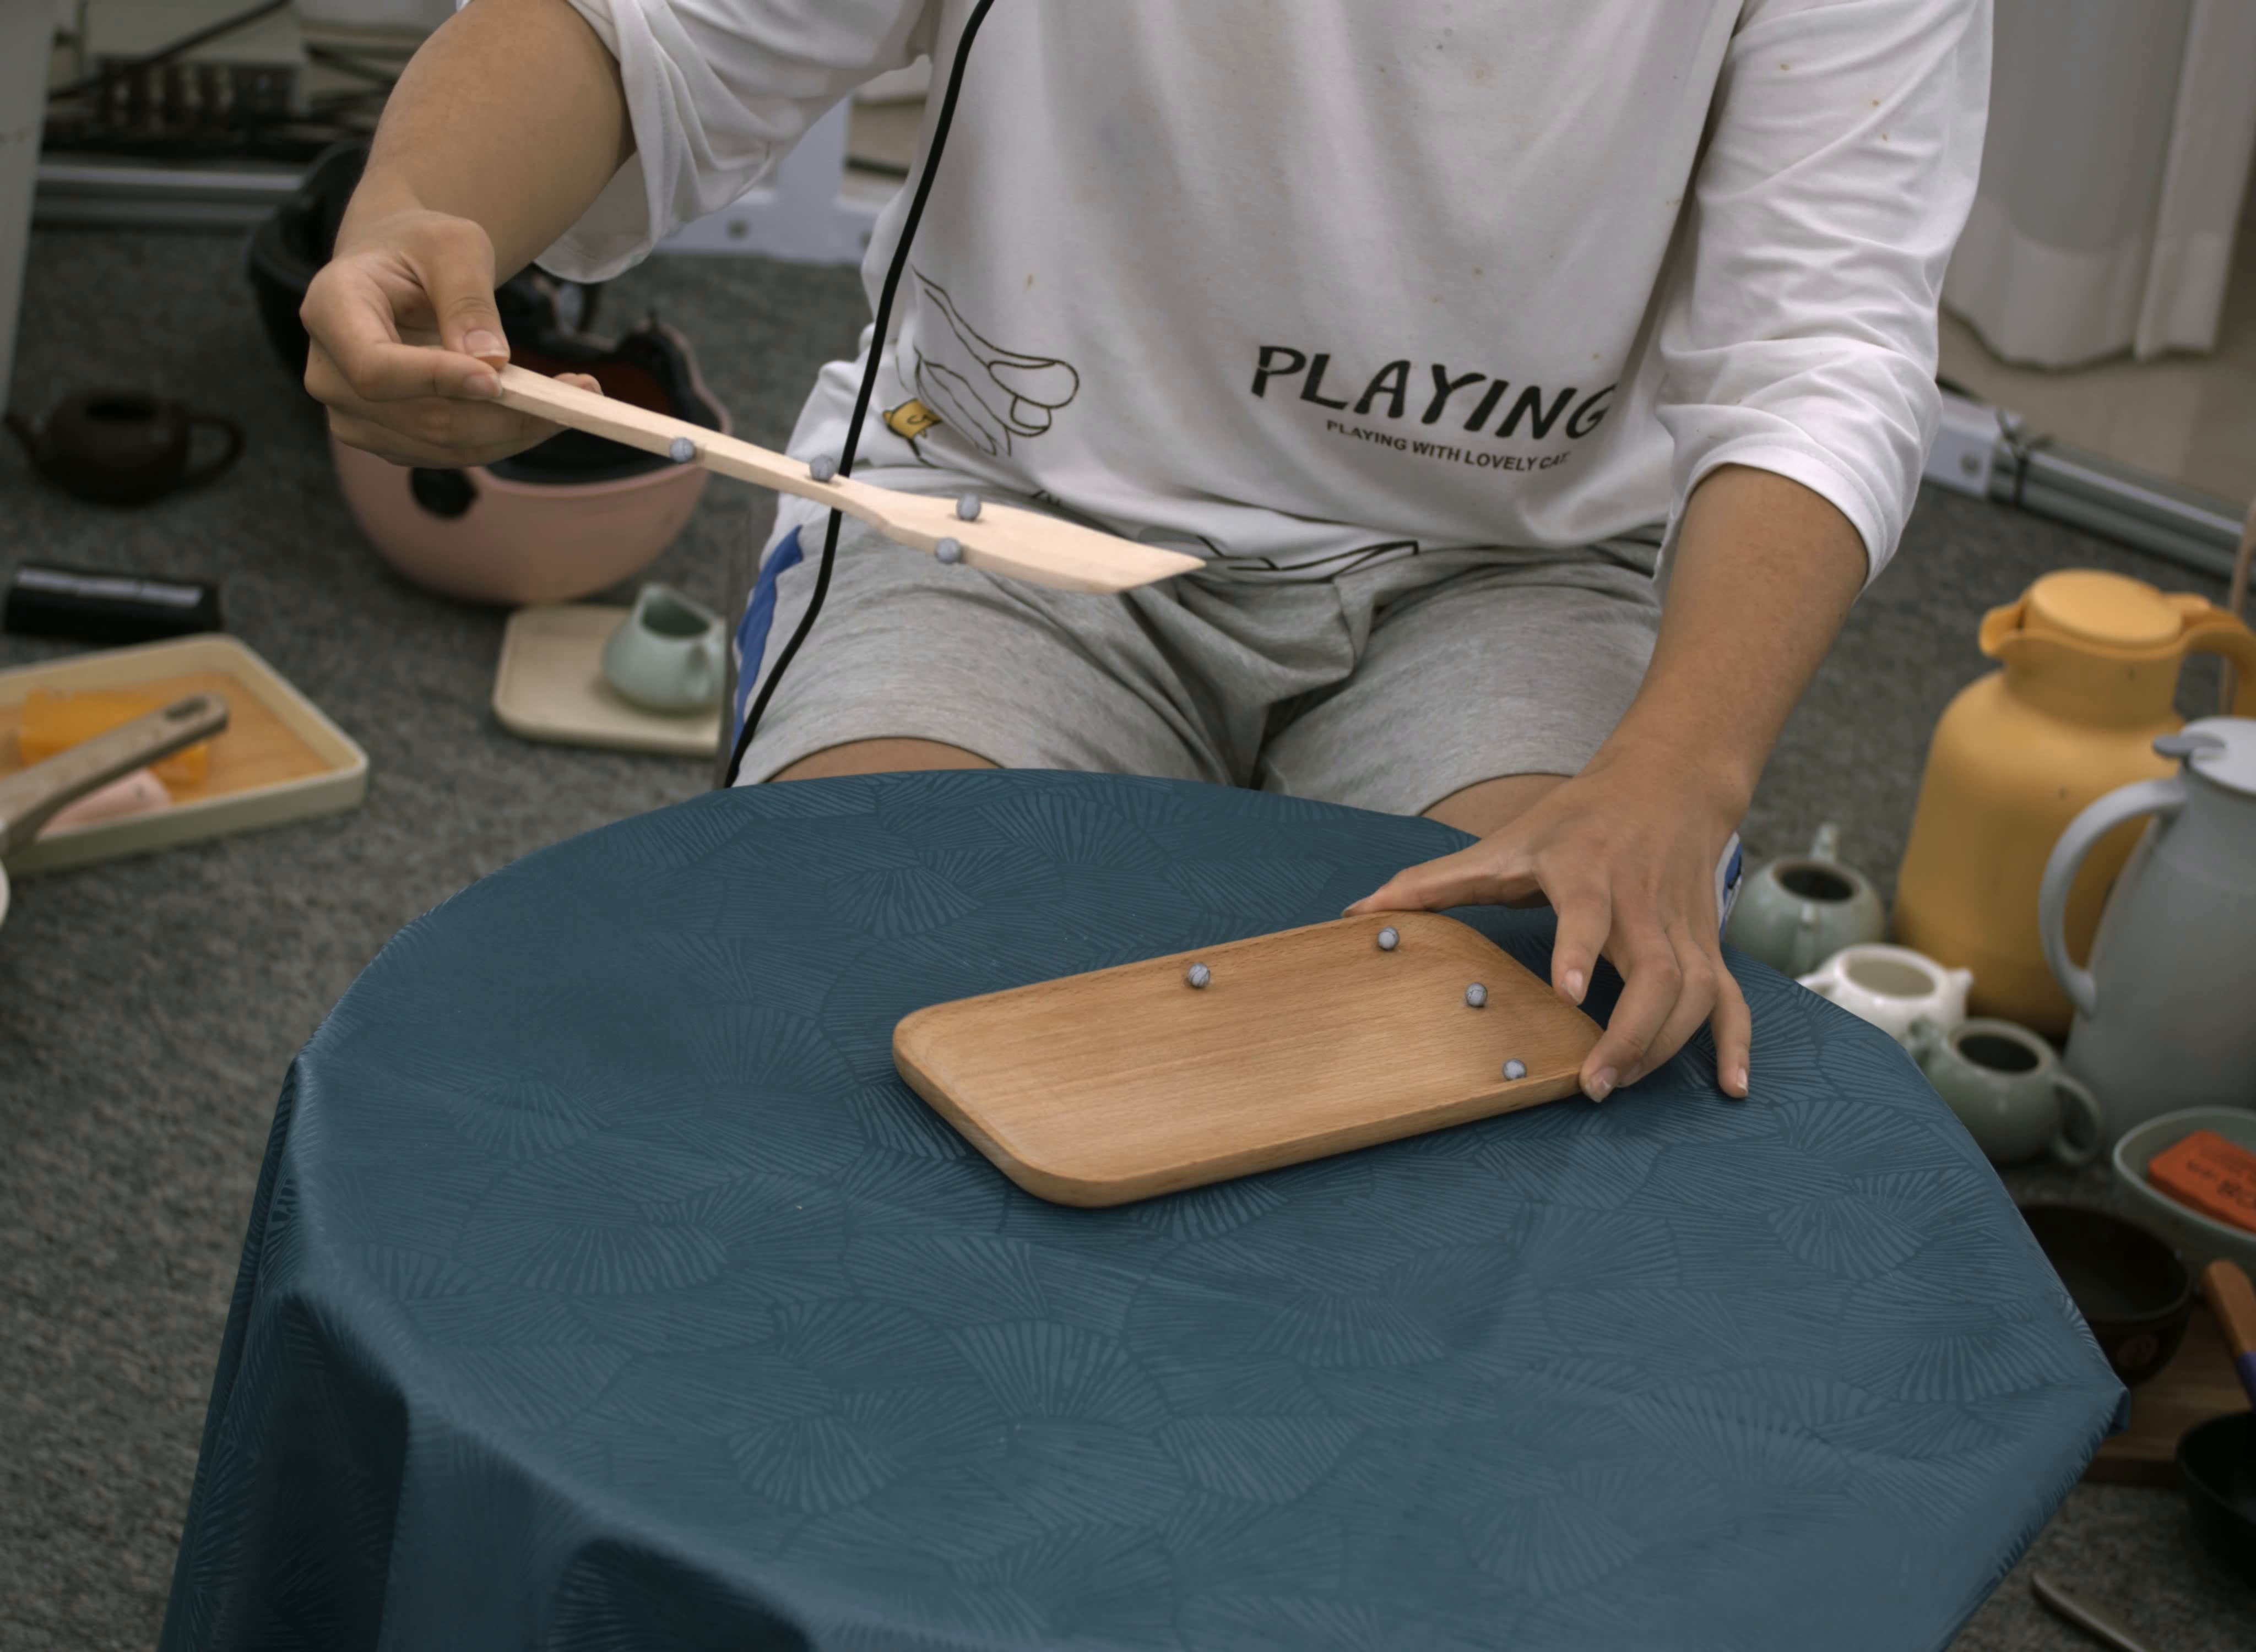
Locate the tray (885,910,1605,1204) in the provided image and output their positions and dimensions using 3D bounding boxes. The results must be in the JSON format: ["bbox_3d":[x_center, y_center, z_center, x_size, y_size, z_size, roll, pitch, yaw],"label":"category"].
[{"bbox_3d":[0.042,0.080,1.885,0.249,0.023,0.132,-10,29,-29],"label":"tray"}]

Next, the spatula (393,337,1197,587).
[{"bbox_3d":[-0.119,-0.121,1.767,0.294,0.010,0.072,18,18,22],"label":"spatula"}]
